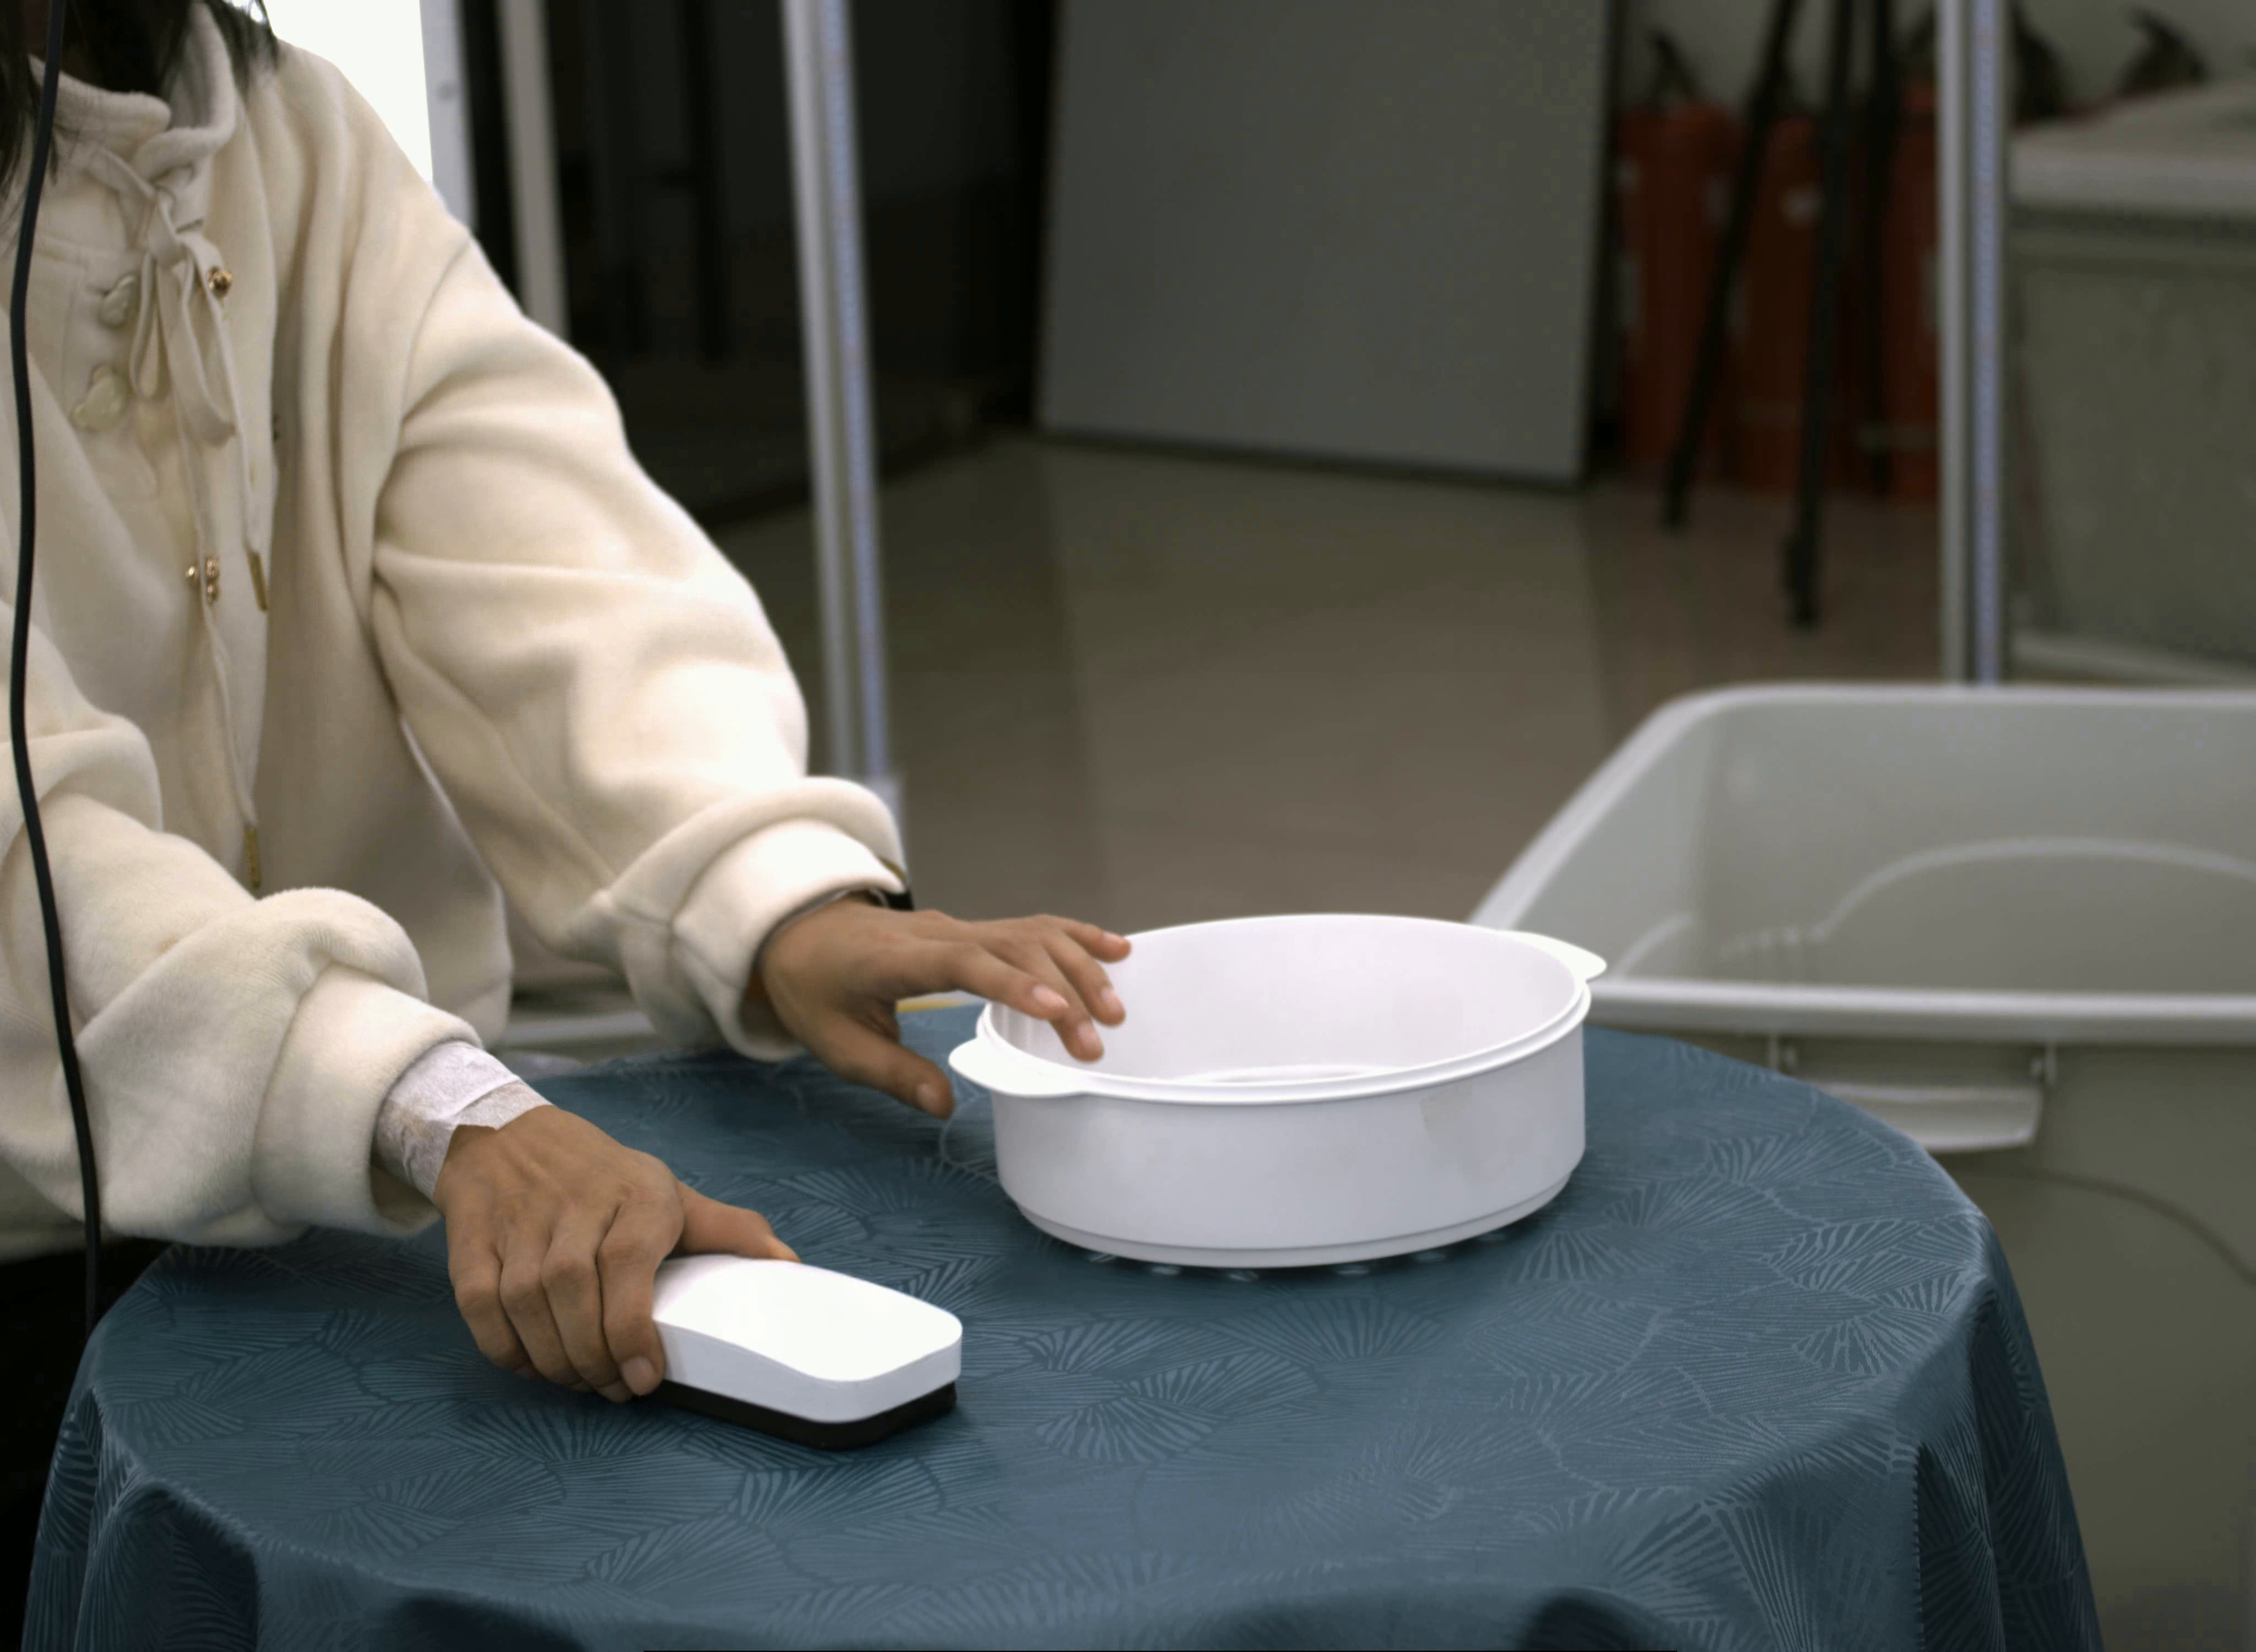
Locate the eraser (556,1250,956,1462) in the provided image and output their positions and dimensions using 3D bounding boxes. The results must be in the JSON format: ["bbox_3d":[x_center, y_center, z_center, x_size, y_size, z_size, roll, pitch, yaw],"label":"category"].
[{"bbox_3d":[-0.109,0.154,1.603,0.062,0.035,0.132,-17,20,-42],"label":"eraser"}]

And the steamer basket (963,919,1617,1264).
[{"bbox_3d":[0.056,0.086,1.754,0.225,0.070,0.204,-10,14,-27],"label":"steamer basket"}]
